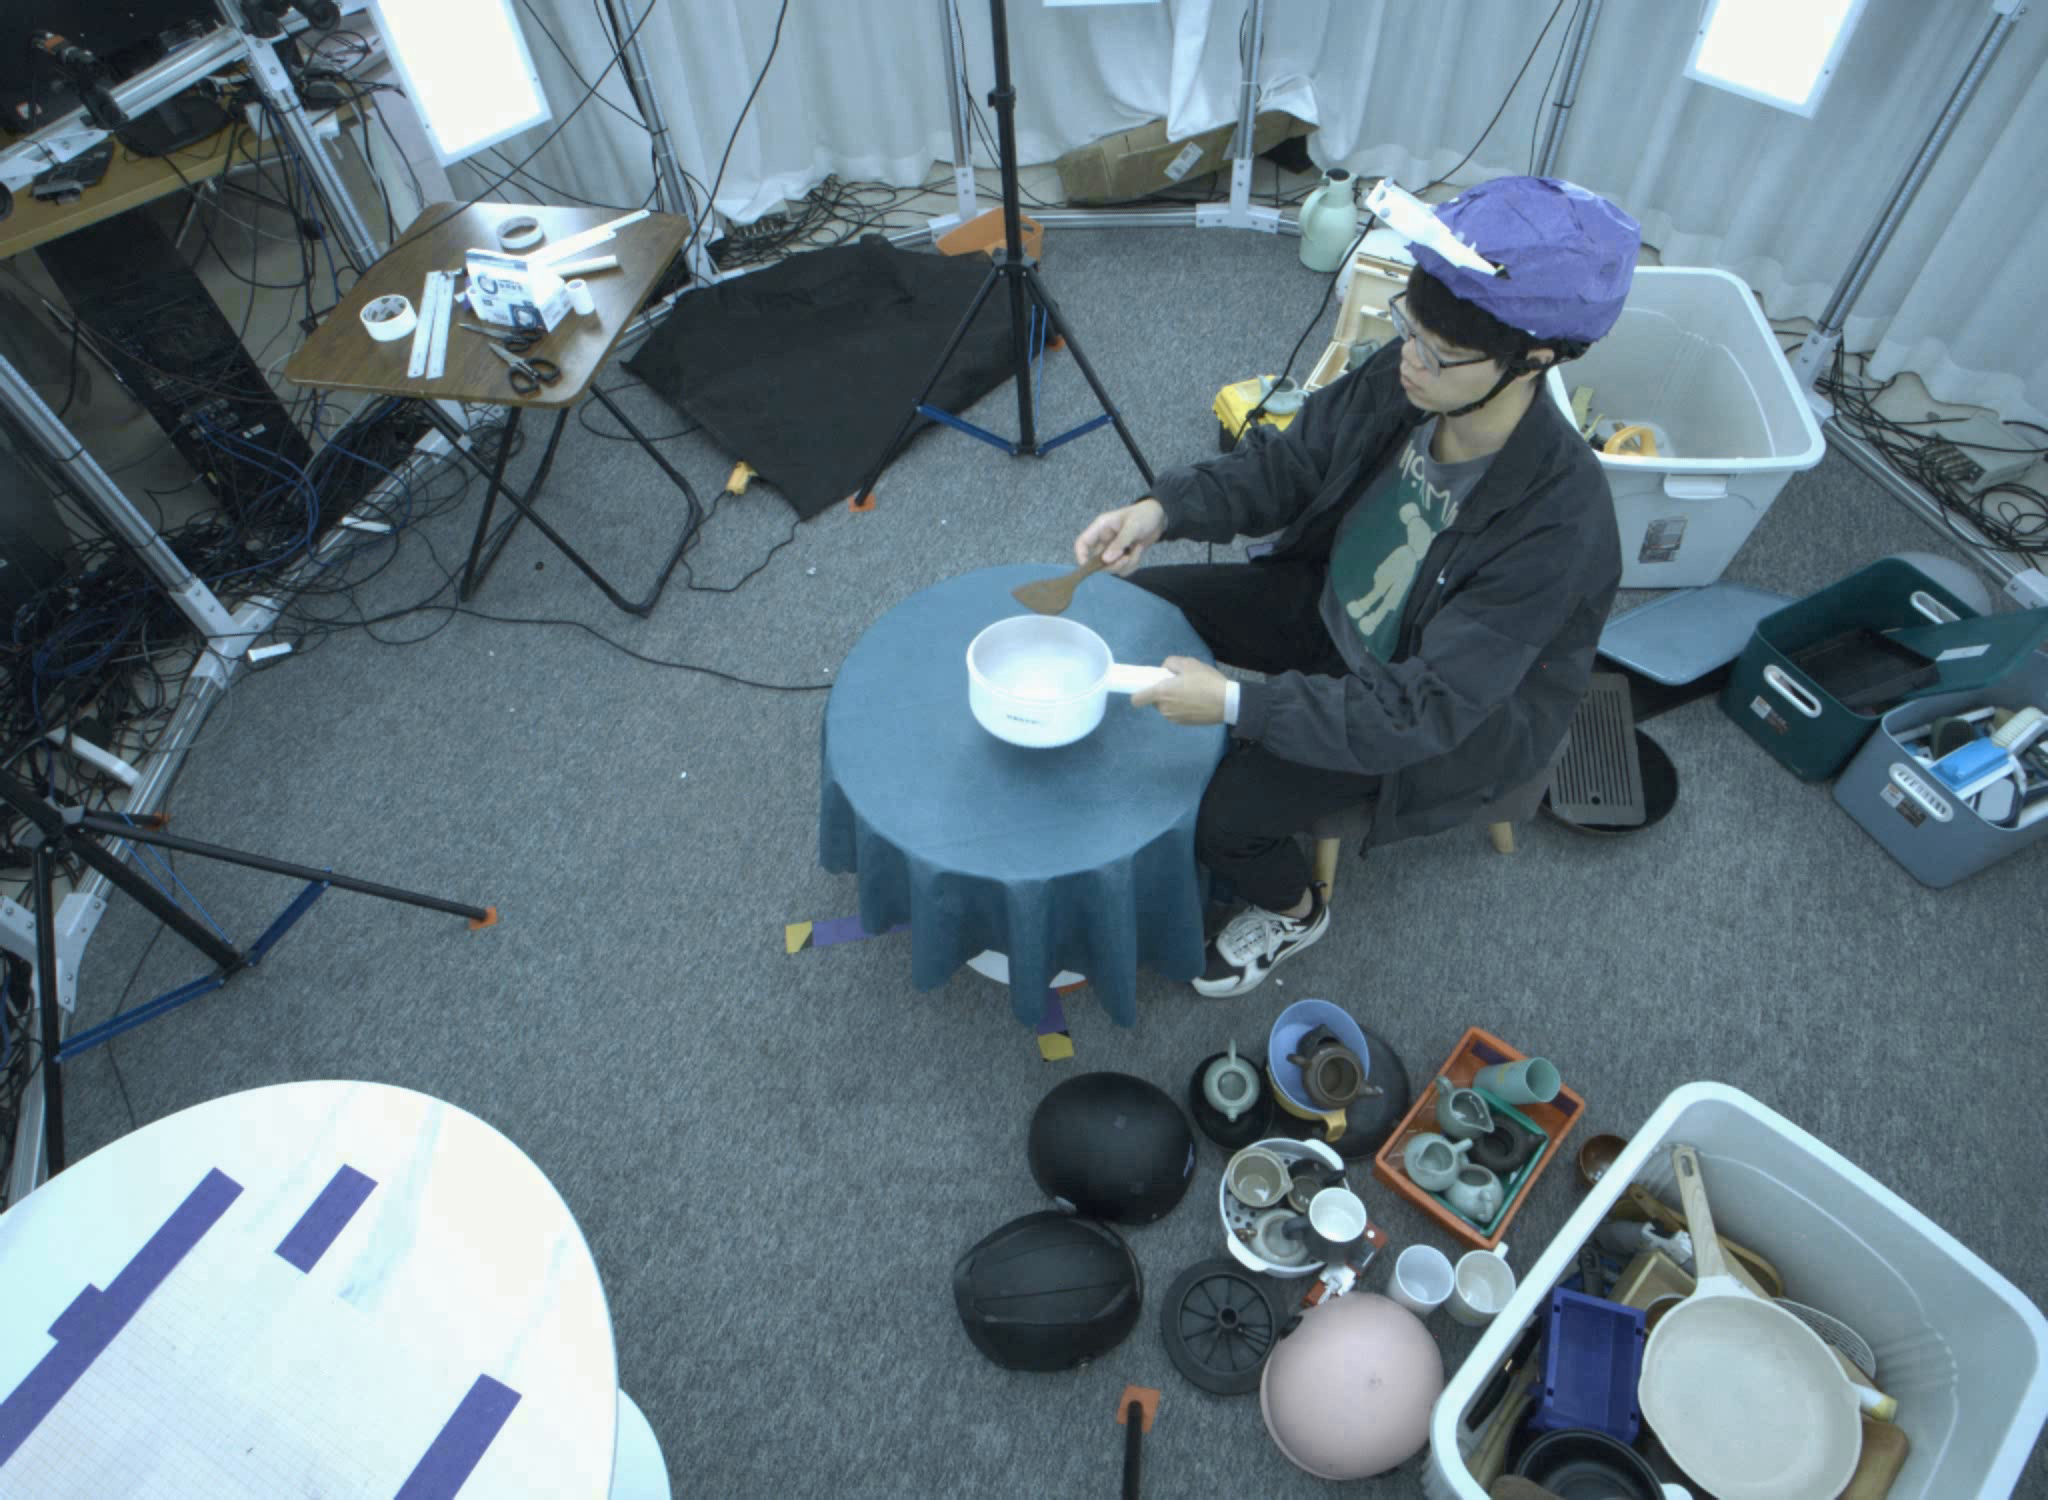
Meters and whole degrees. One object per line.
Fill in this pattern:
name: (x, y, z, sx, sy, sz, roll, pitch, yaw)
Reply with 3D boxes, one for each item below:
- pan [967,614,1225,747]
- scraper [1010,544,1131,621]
pan: (0.095, -0.081, 1.710, 0.354, 0.103, 0.200, 9, 41, 2)
scraper: (0.073, -0.233, 1.672, 0.074, 0.011, 0.213, 32, 51, 28)
